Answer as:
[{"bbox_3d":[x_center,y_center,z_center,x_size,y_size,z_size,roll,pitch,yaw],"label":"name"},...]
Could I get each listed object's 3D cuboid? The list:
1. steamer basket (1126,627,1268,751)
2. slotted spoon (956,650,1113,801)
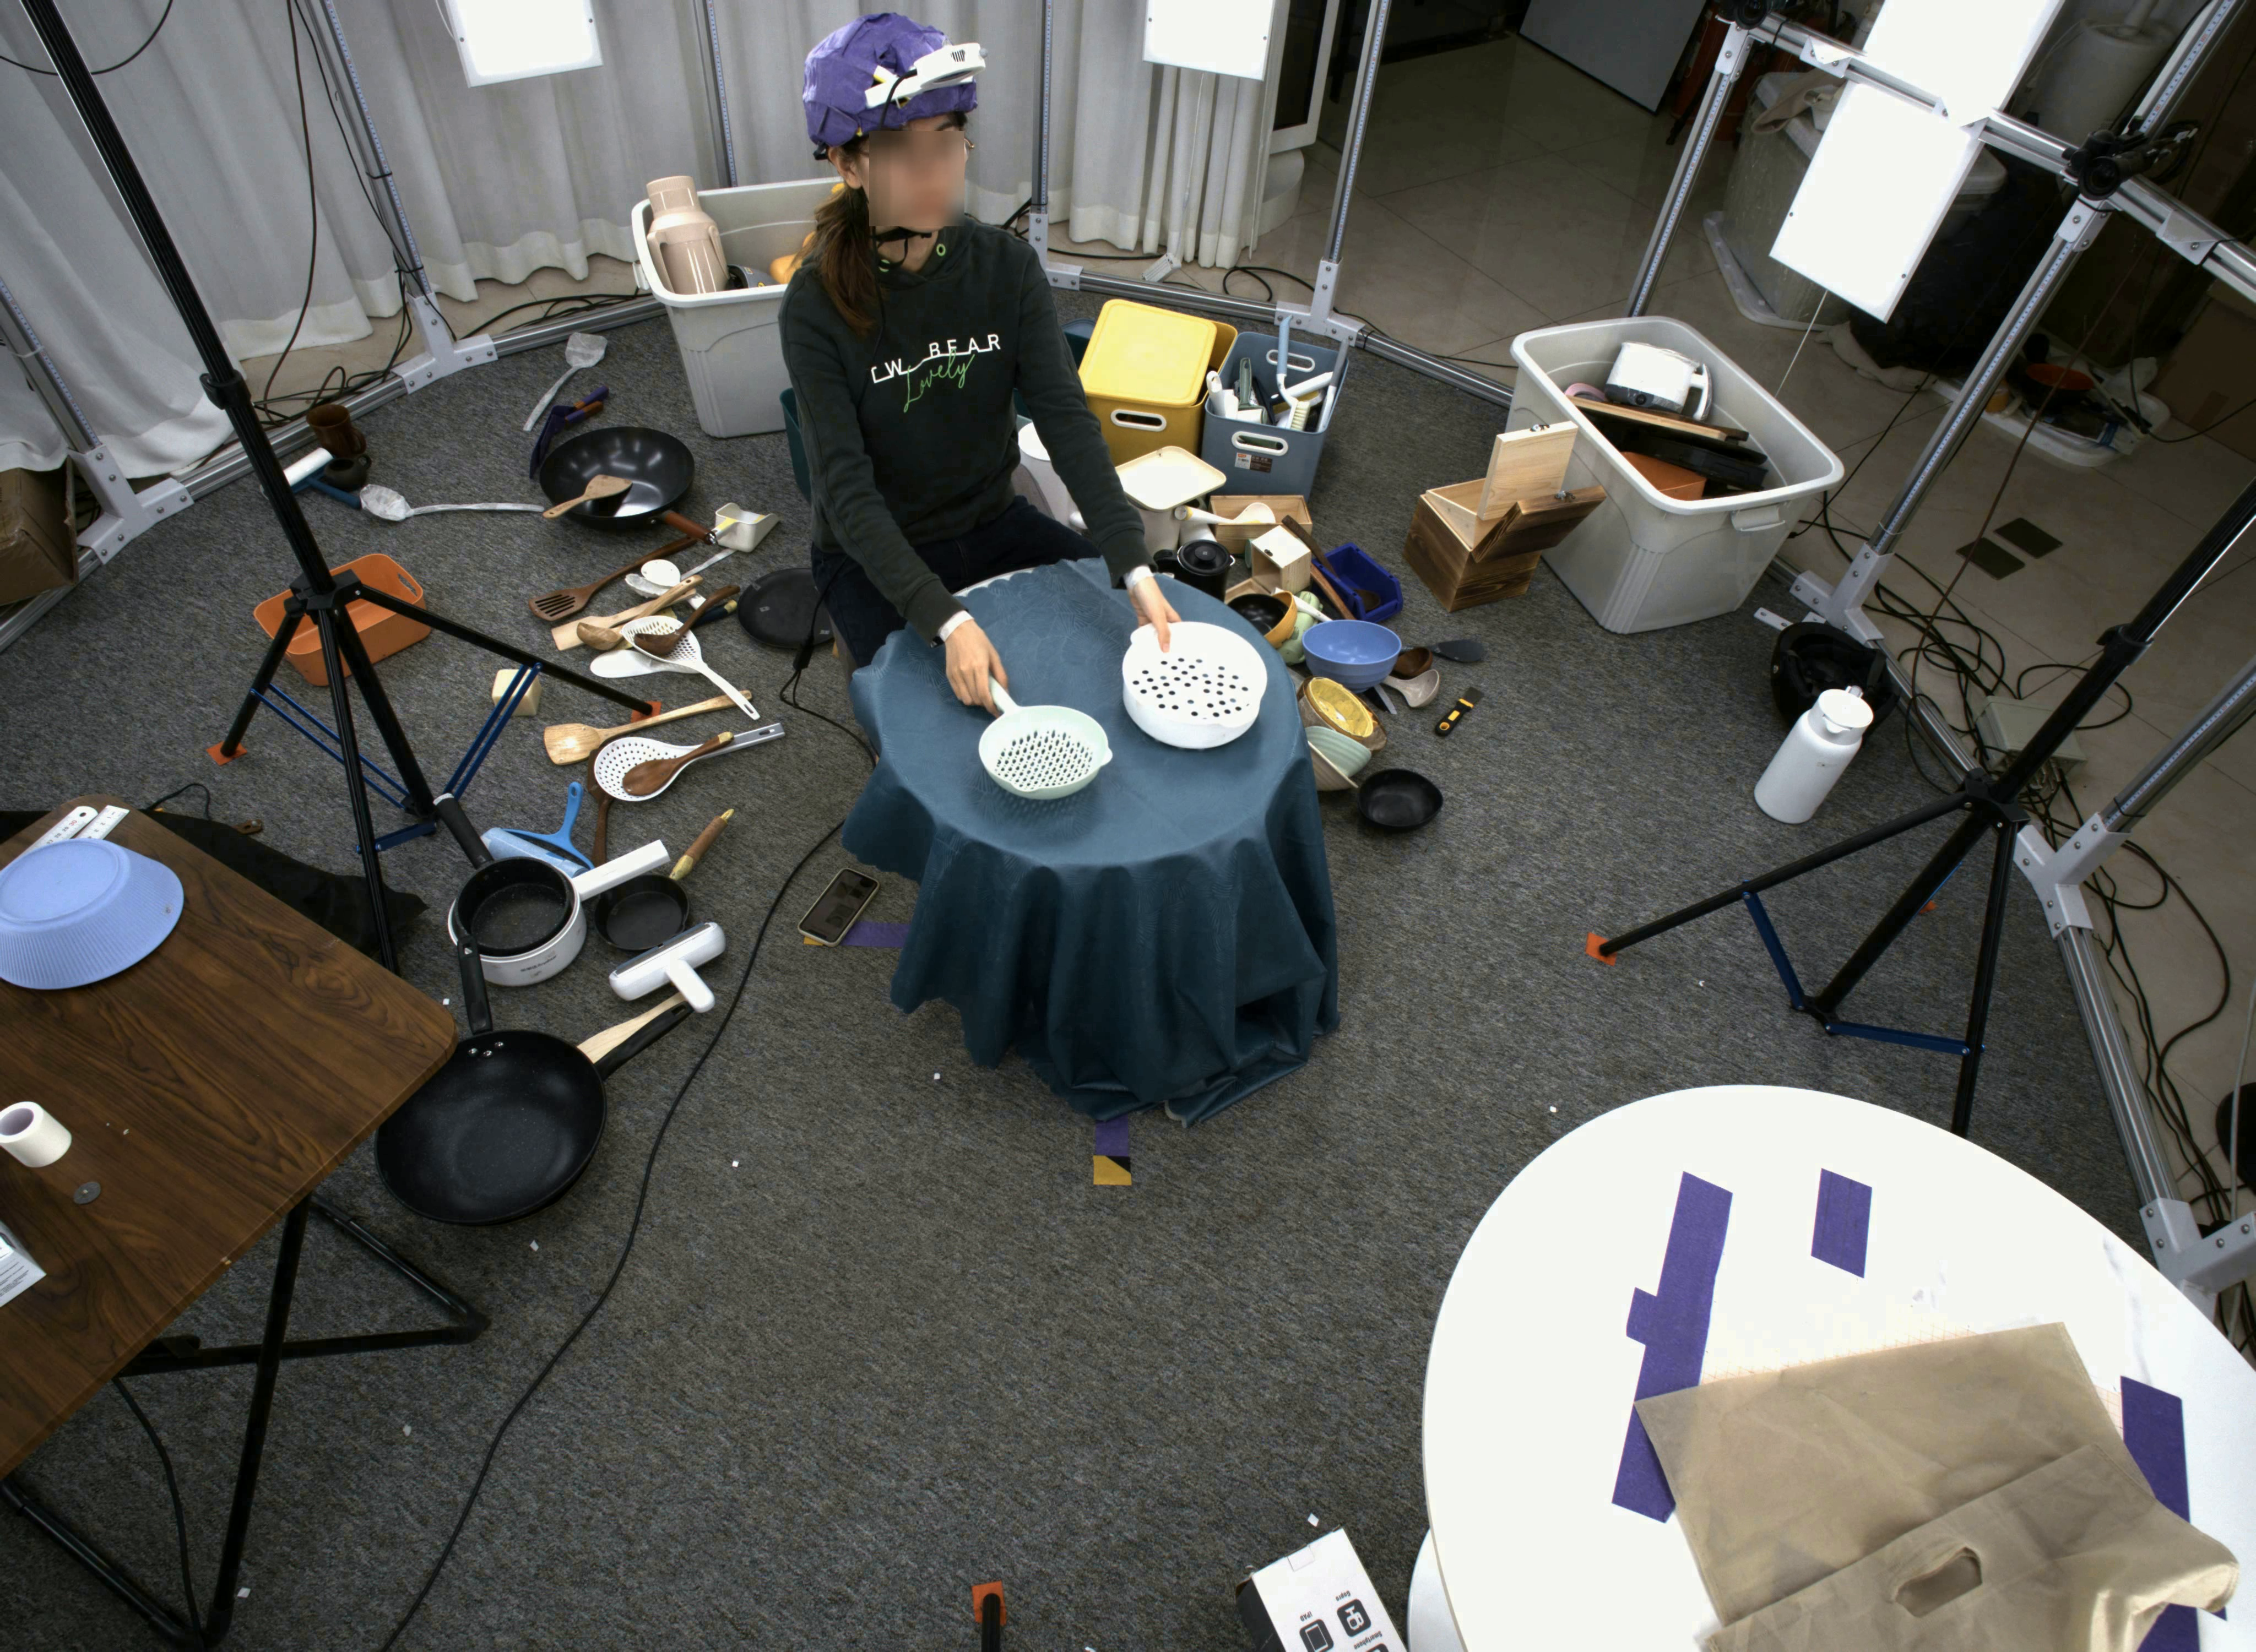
[{"bbox_3d":[0.095,-0.192,1.816,0.203,0.067,0.235,-29,57,-27],"label":"steamer basket"},{"bbox_3d":[-0.158,-0.154,1.766,0.170,0.073,0.366,-20,53,-21],"label":"slotted spoon"}]
